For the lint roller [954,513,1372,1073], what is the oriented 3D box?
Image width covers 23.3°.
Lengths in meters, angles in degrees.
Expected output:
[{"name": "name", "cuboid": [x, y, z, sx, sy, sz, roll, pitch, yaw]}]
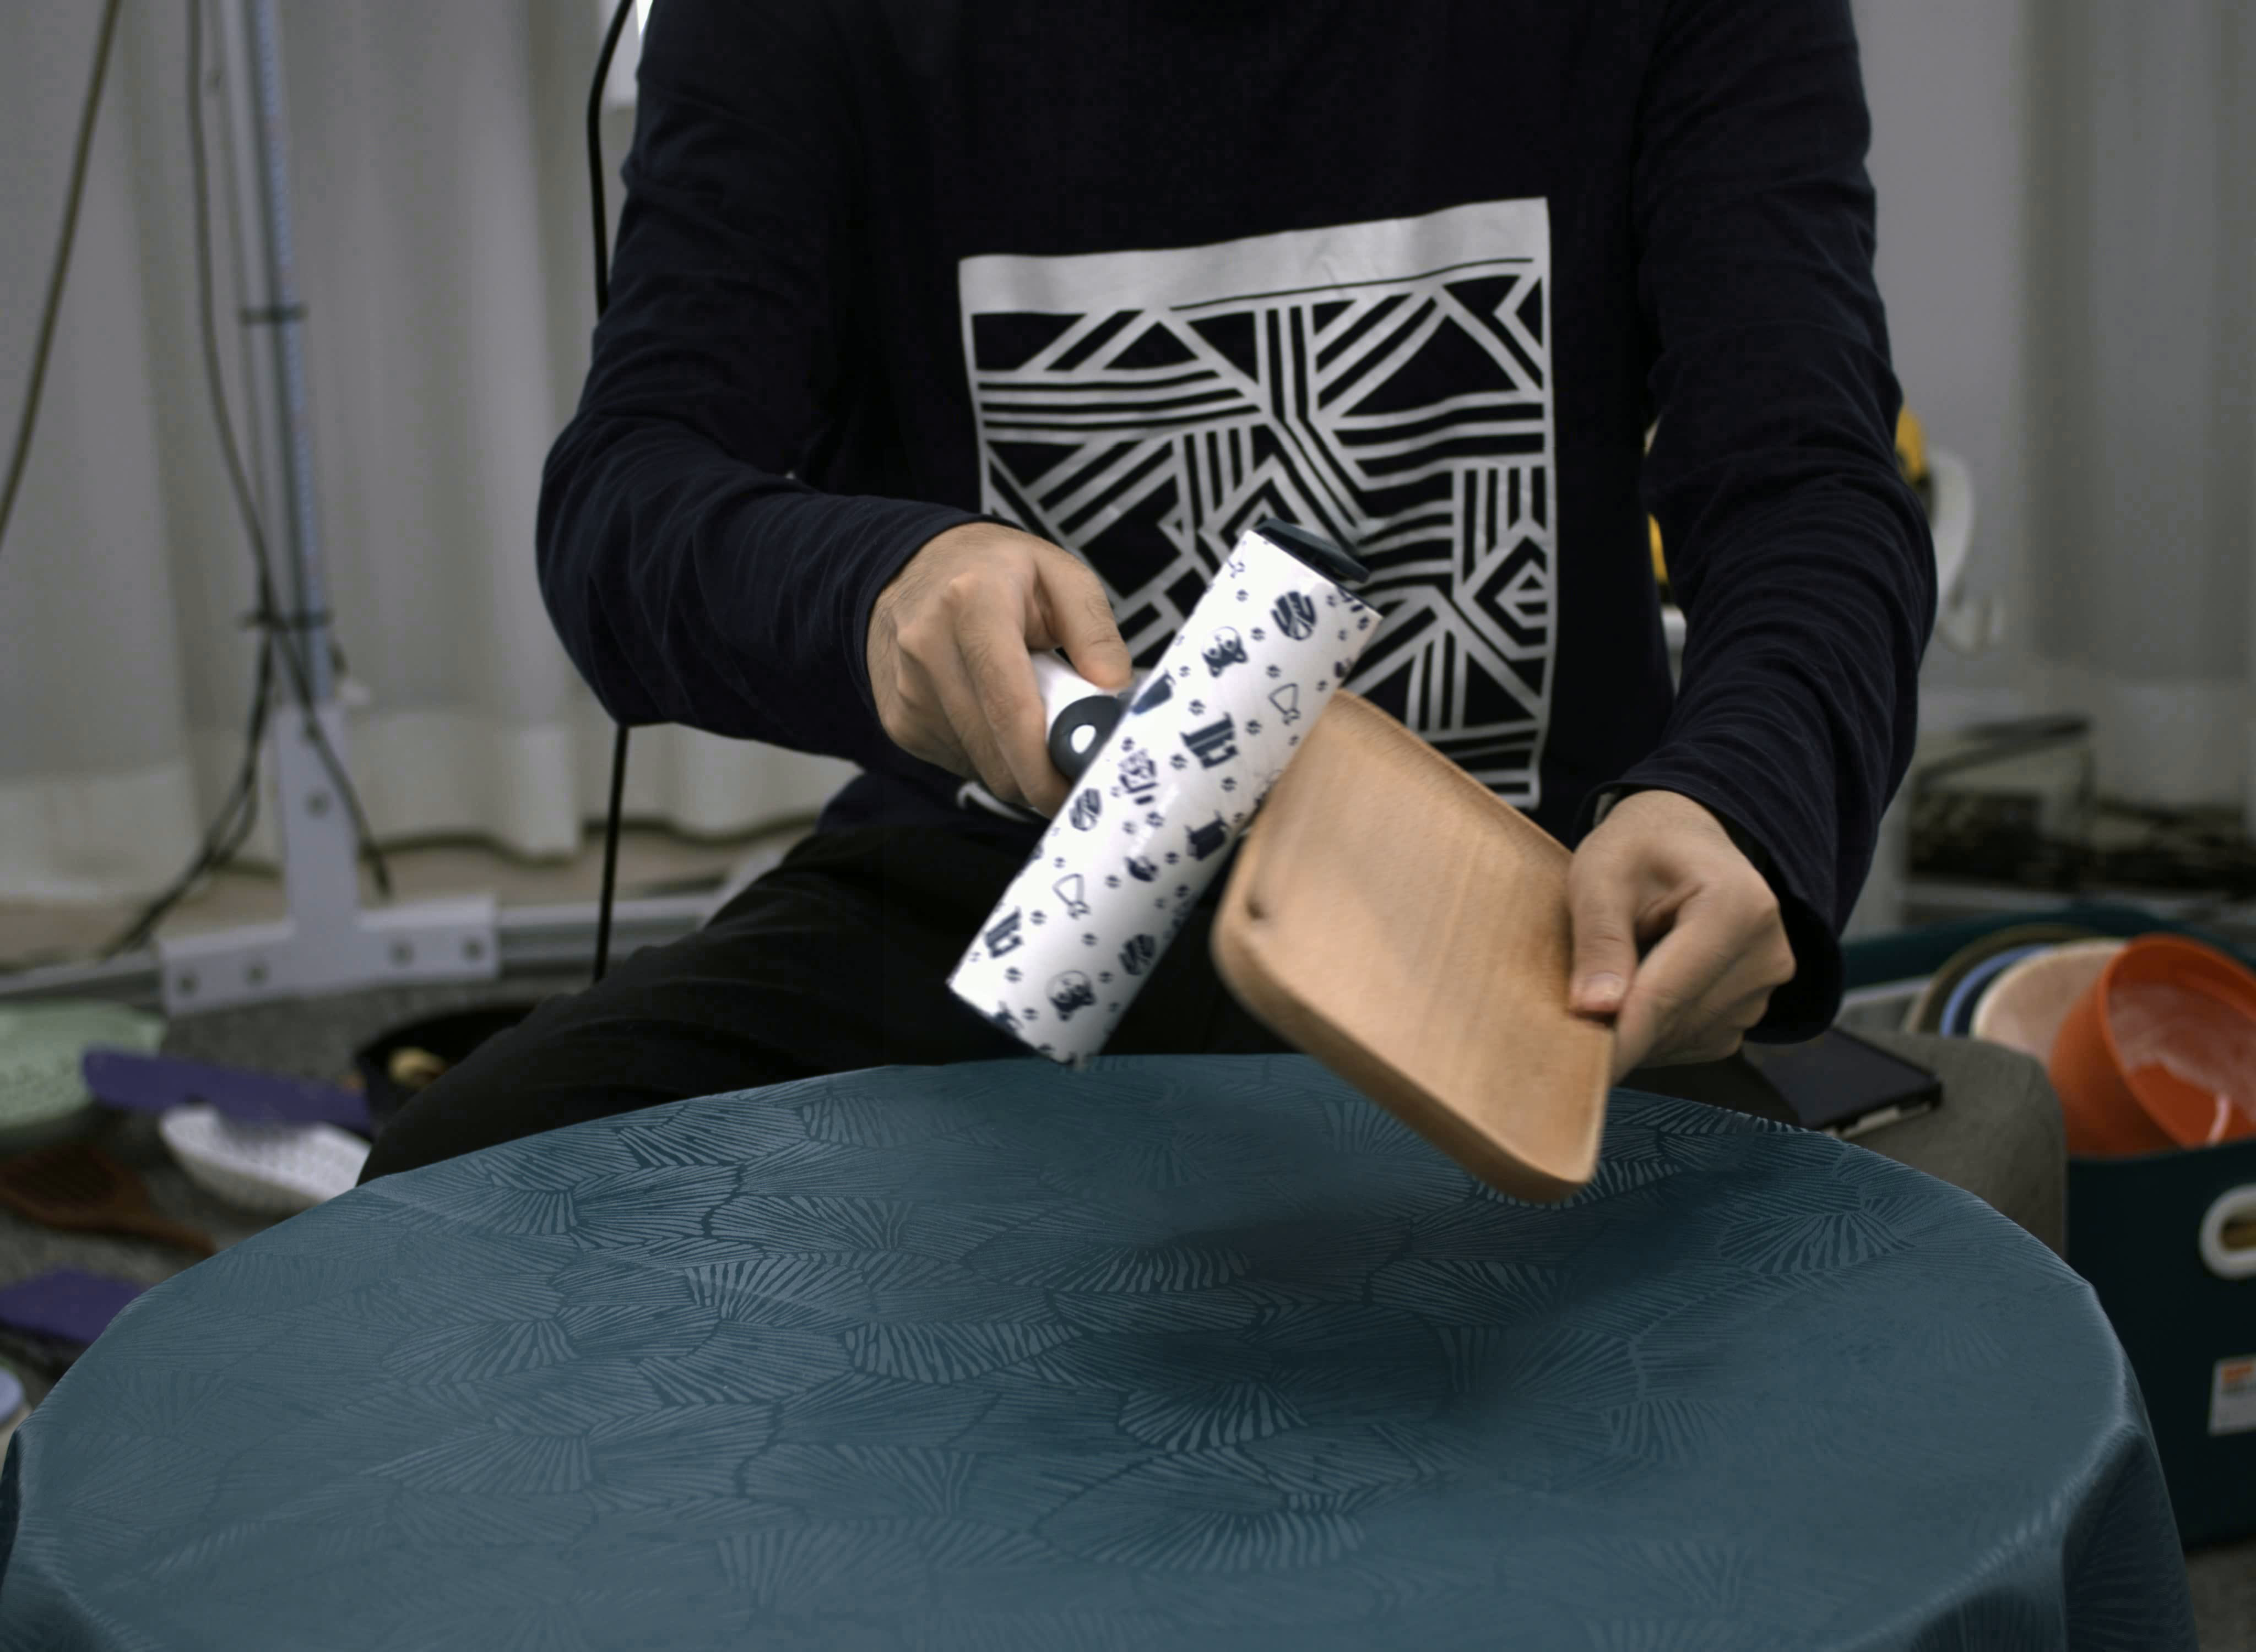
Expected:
[{"name": "lint roller", "cuboid": [-0.015, -0.028, 1.691, 0.050, 0.176, 0.249, 31, 2, -19]}]

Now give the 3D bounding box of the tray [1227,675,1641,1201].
[{"name": "tray", "cuboid": [0.091, 0.030, 1.600, 0.130, 0.023, 0.252, 41, 18, -5]}]
